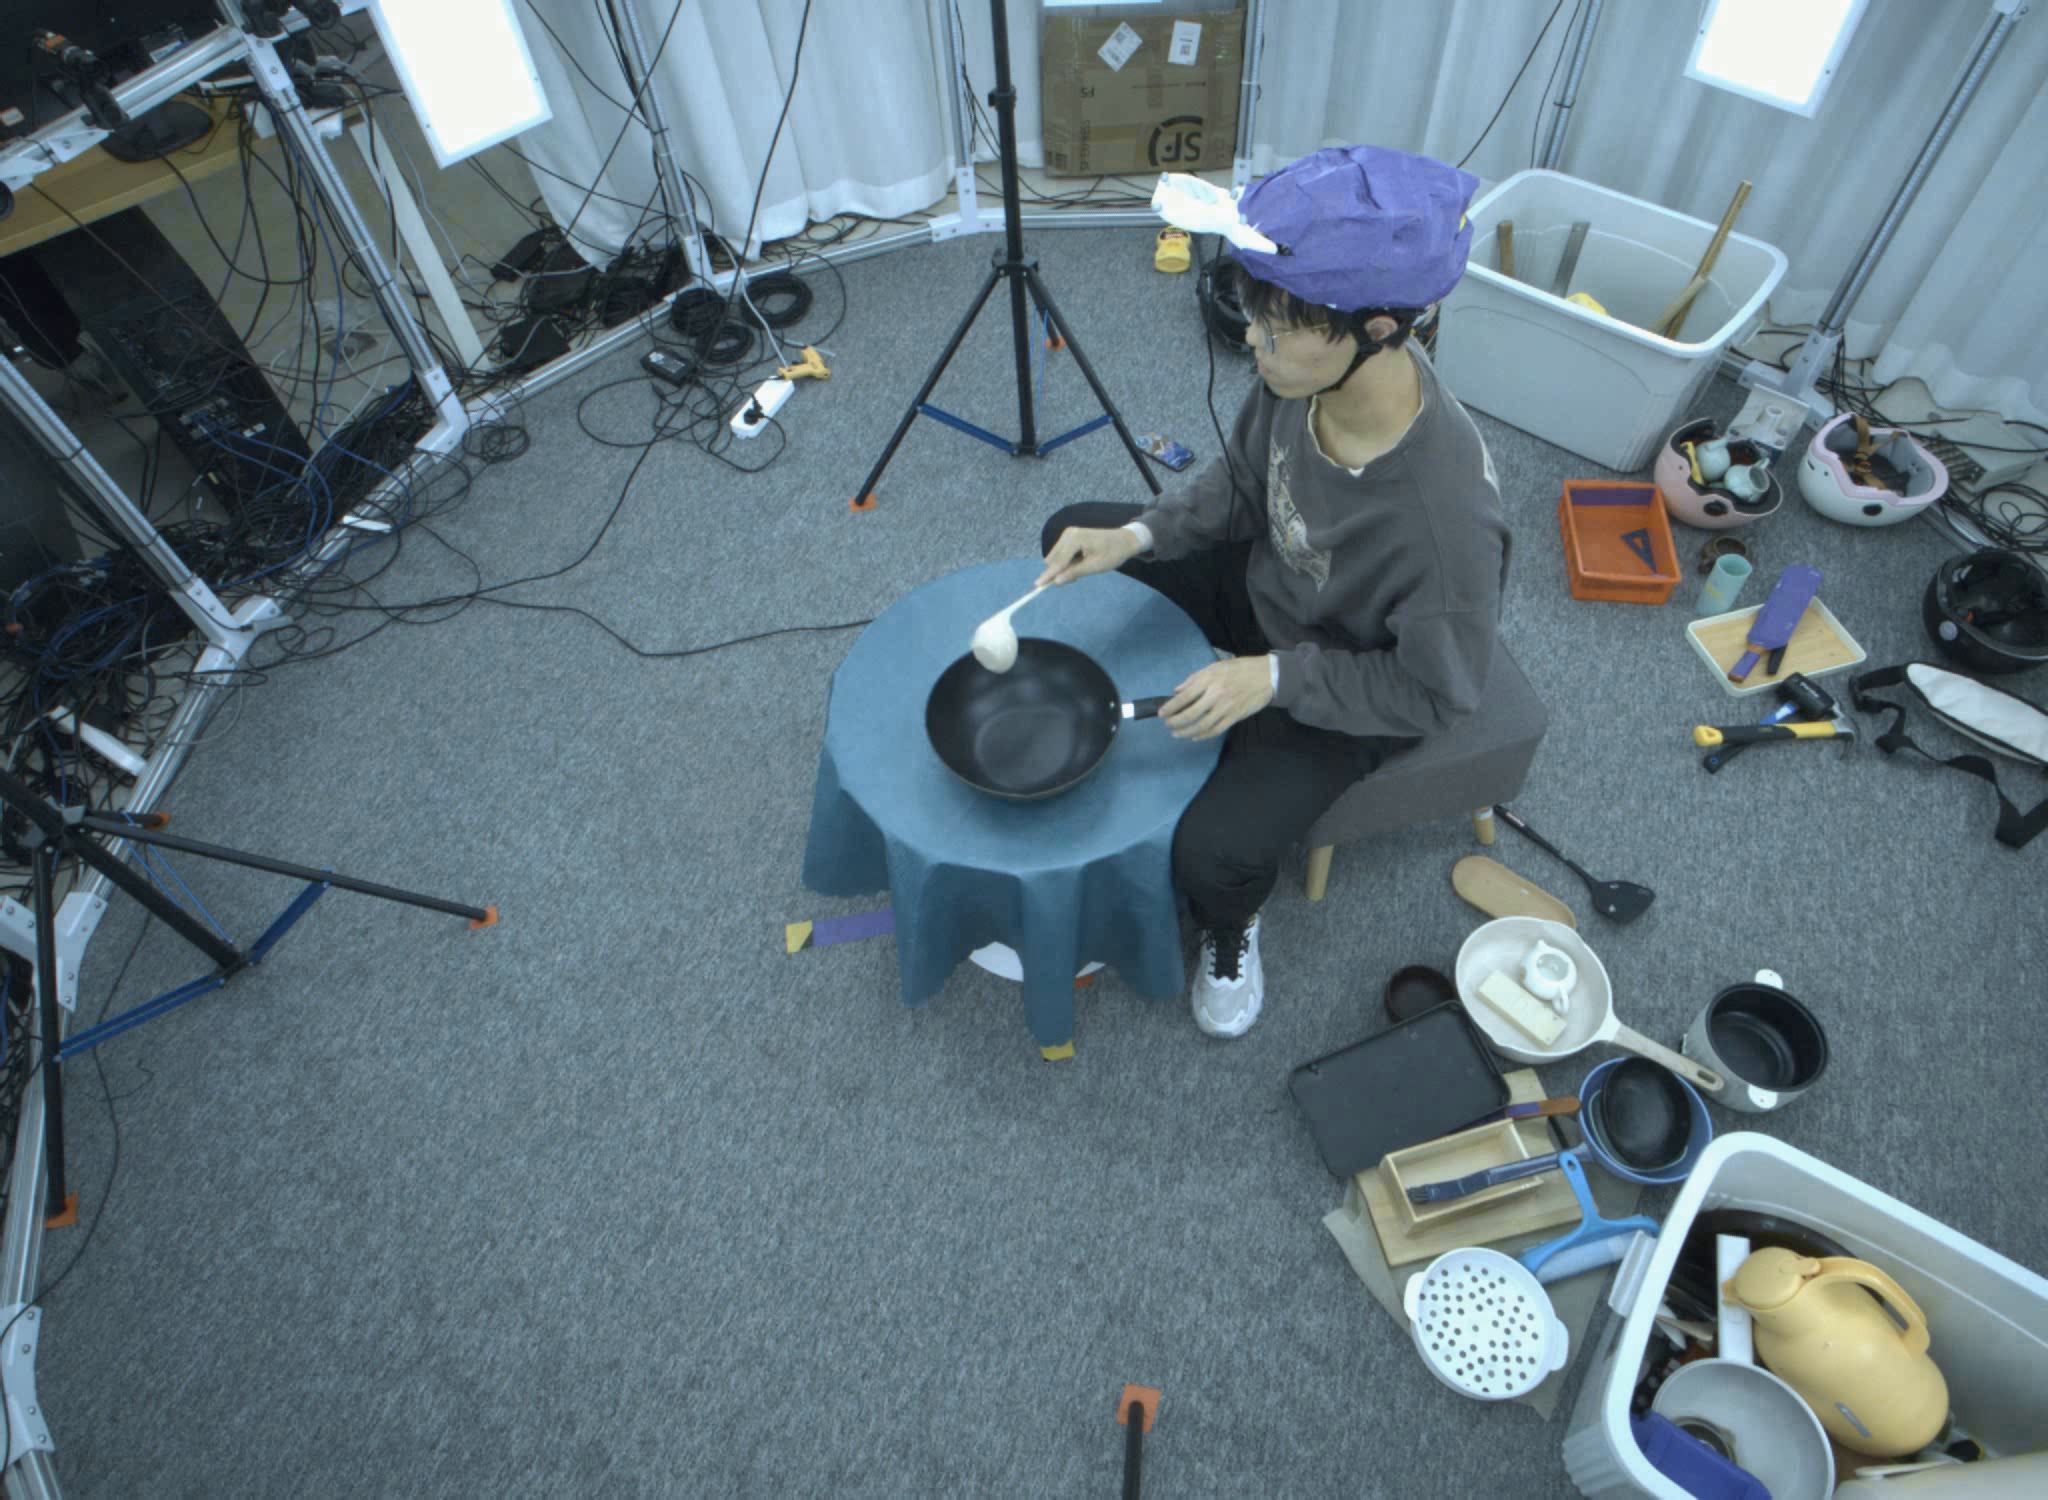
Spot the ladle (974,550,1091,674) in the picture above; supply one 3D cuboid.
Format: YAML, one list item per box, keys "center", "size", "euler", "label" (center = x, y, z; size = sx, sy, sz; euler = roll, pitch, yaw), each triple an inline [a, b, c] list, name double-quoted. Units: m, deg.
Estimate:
- center: [0.025, -0.198, 1.766]
  size: [0.070, 0.074, 0.256]
  euler: [17, 44, 37]
  label: "ladle"

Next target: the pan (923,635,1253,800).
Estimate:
- center: [0.091, -0.038, 1.759]
  size: [0.464, 0.088, 0.285]
  euler: [-2, 54, -1]
  label: "pan"
